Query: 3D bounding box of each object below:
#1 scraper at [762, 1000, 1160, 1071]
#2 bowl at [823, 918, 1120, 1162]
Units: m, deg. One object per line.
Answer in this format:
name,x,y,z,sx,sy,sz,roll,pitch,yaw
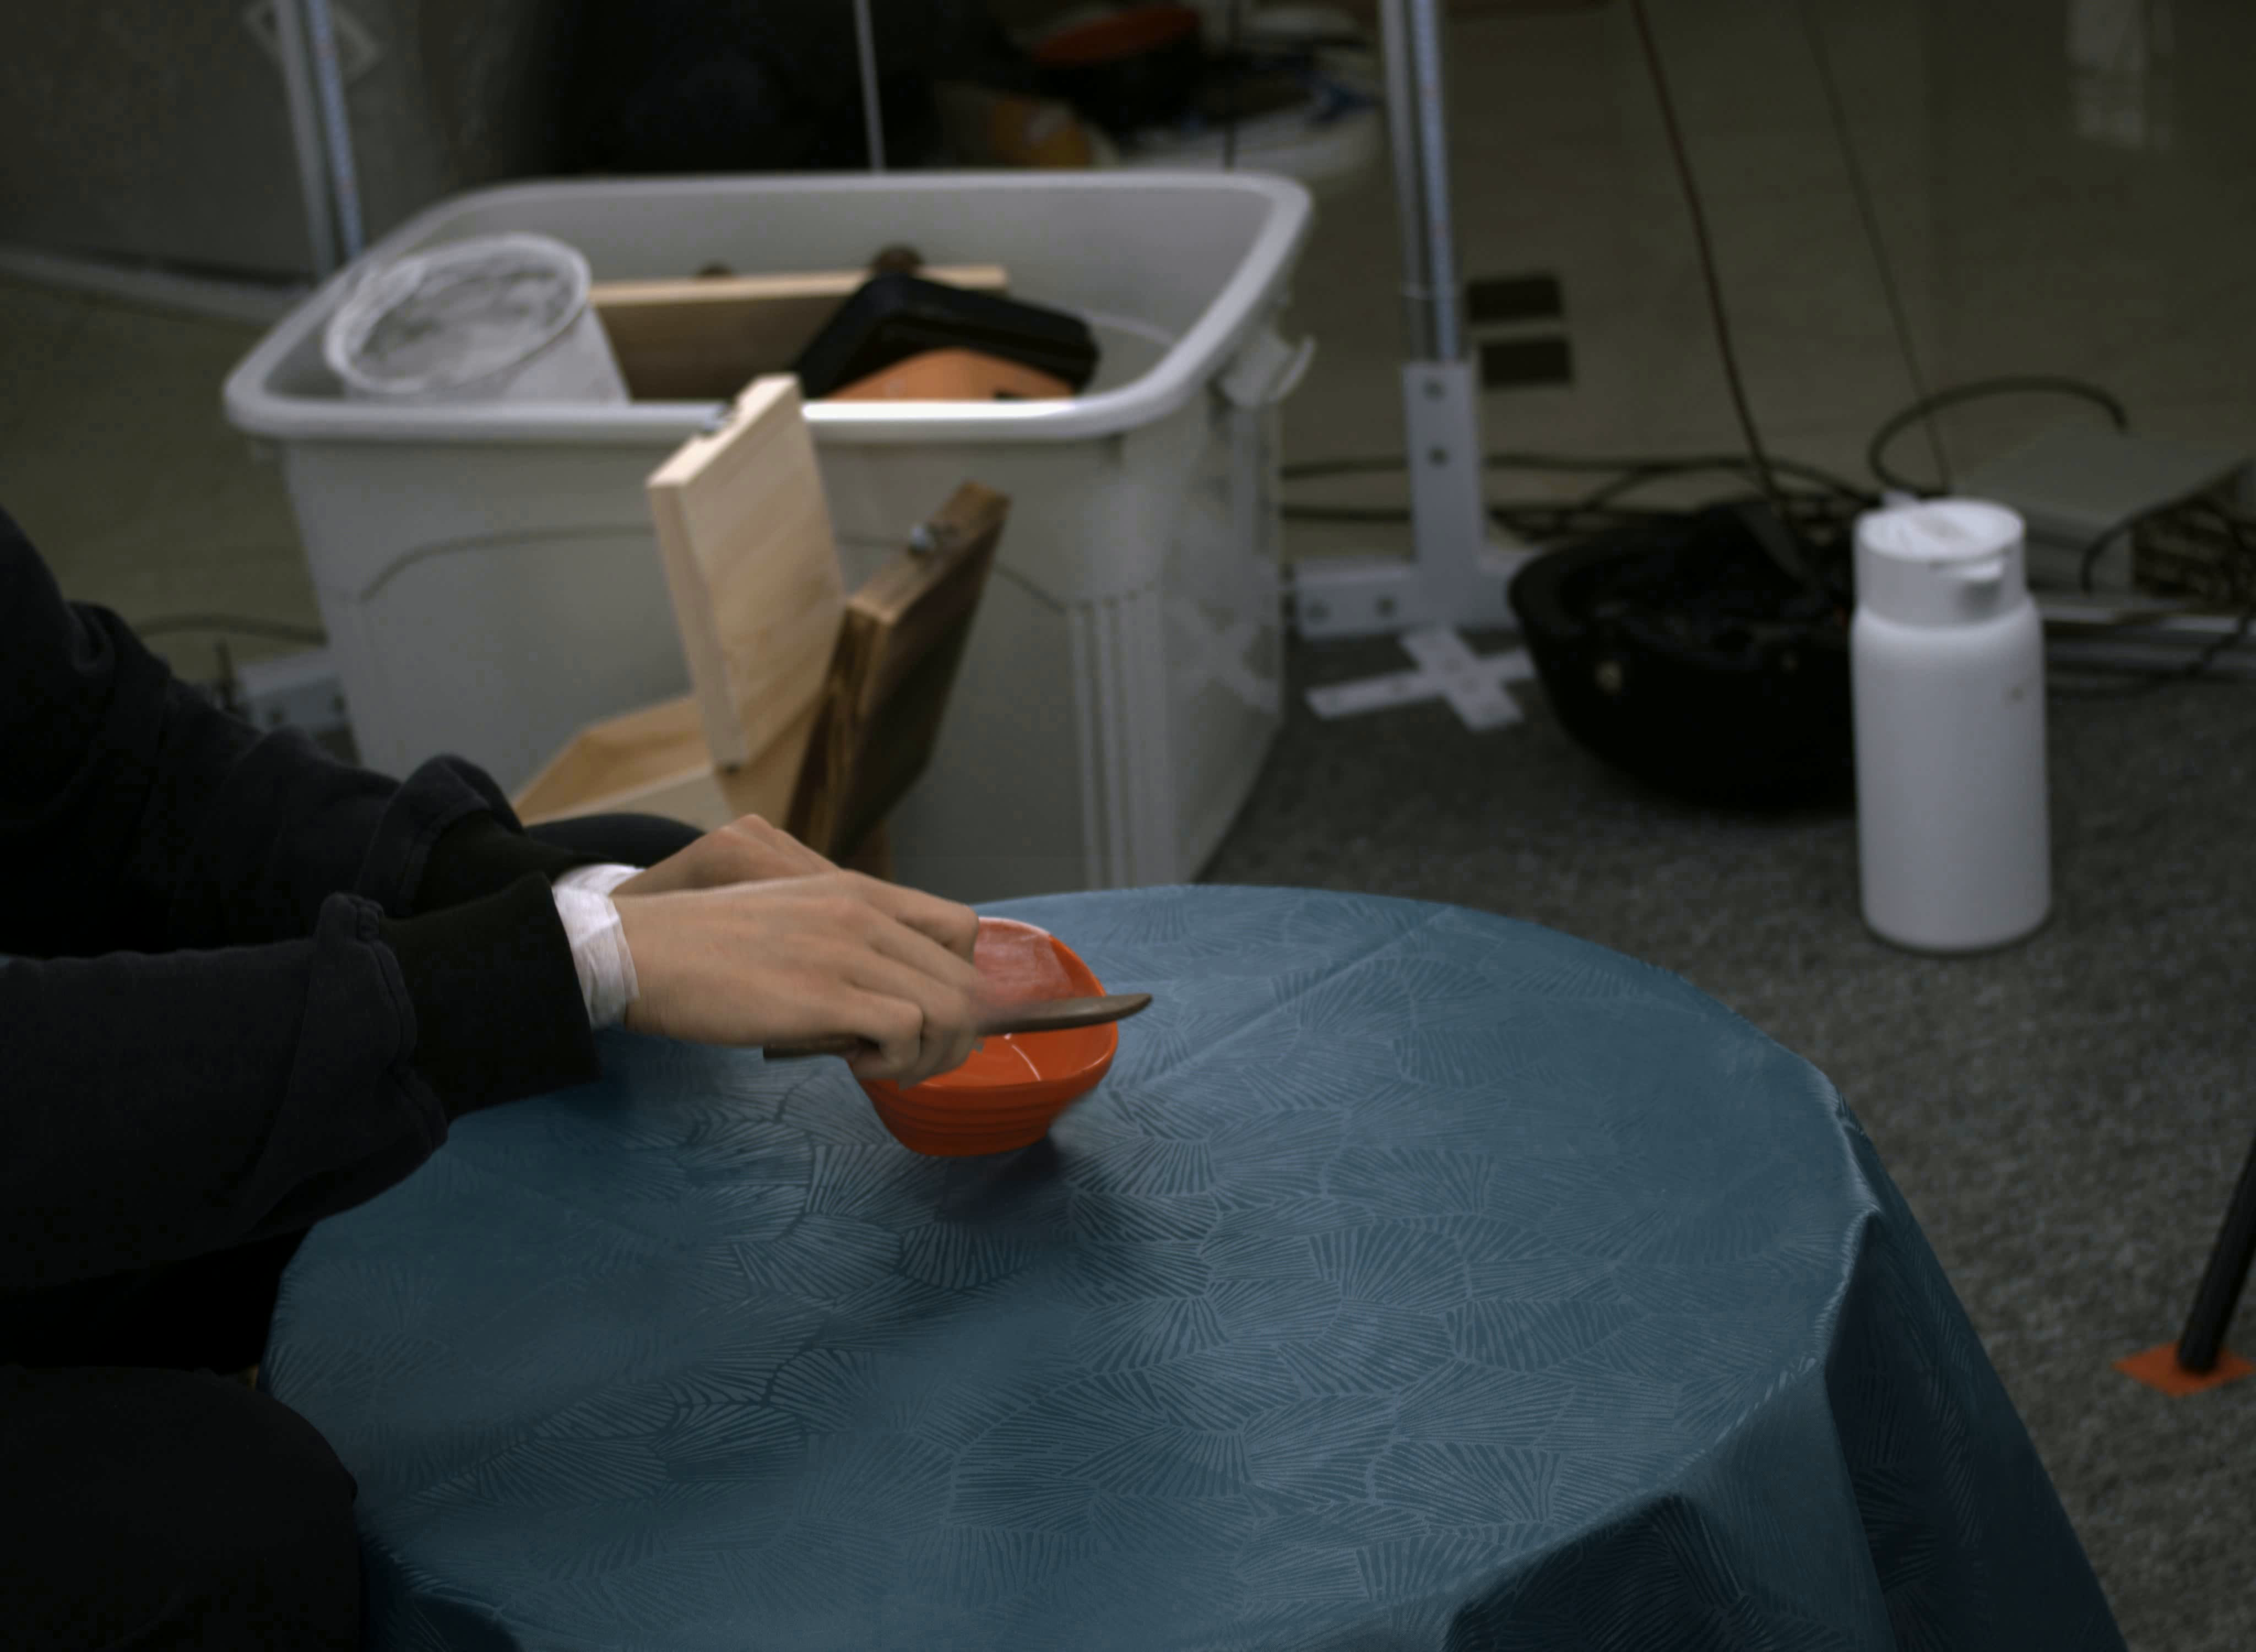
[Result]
scraper,-0.067,0.077,2.046,0.076,0.011,0.211,-5,0,29
bowl,-0.064,0.089,2.195,0.119,0.052,0.117,7,36,-5
